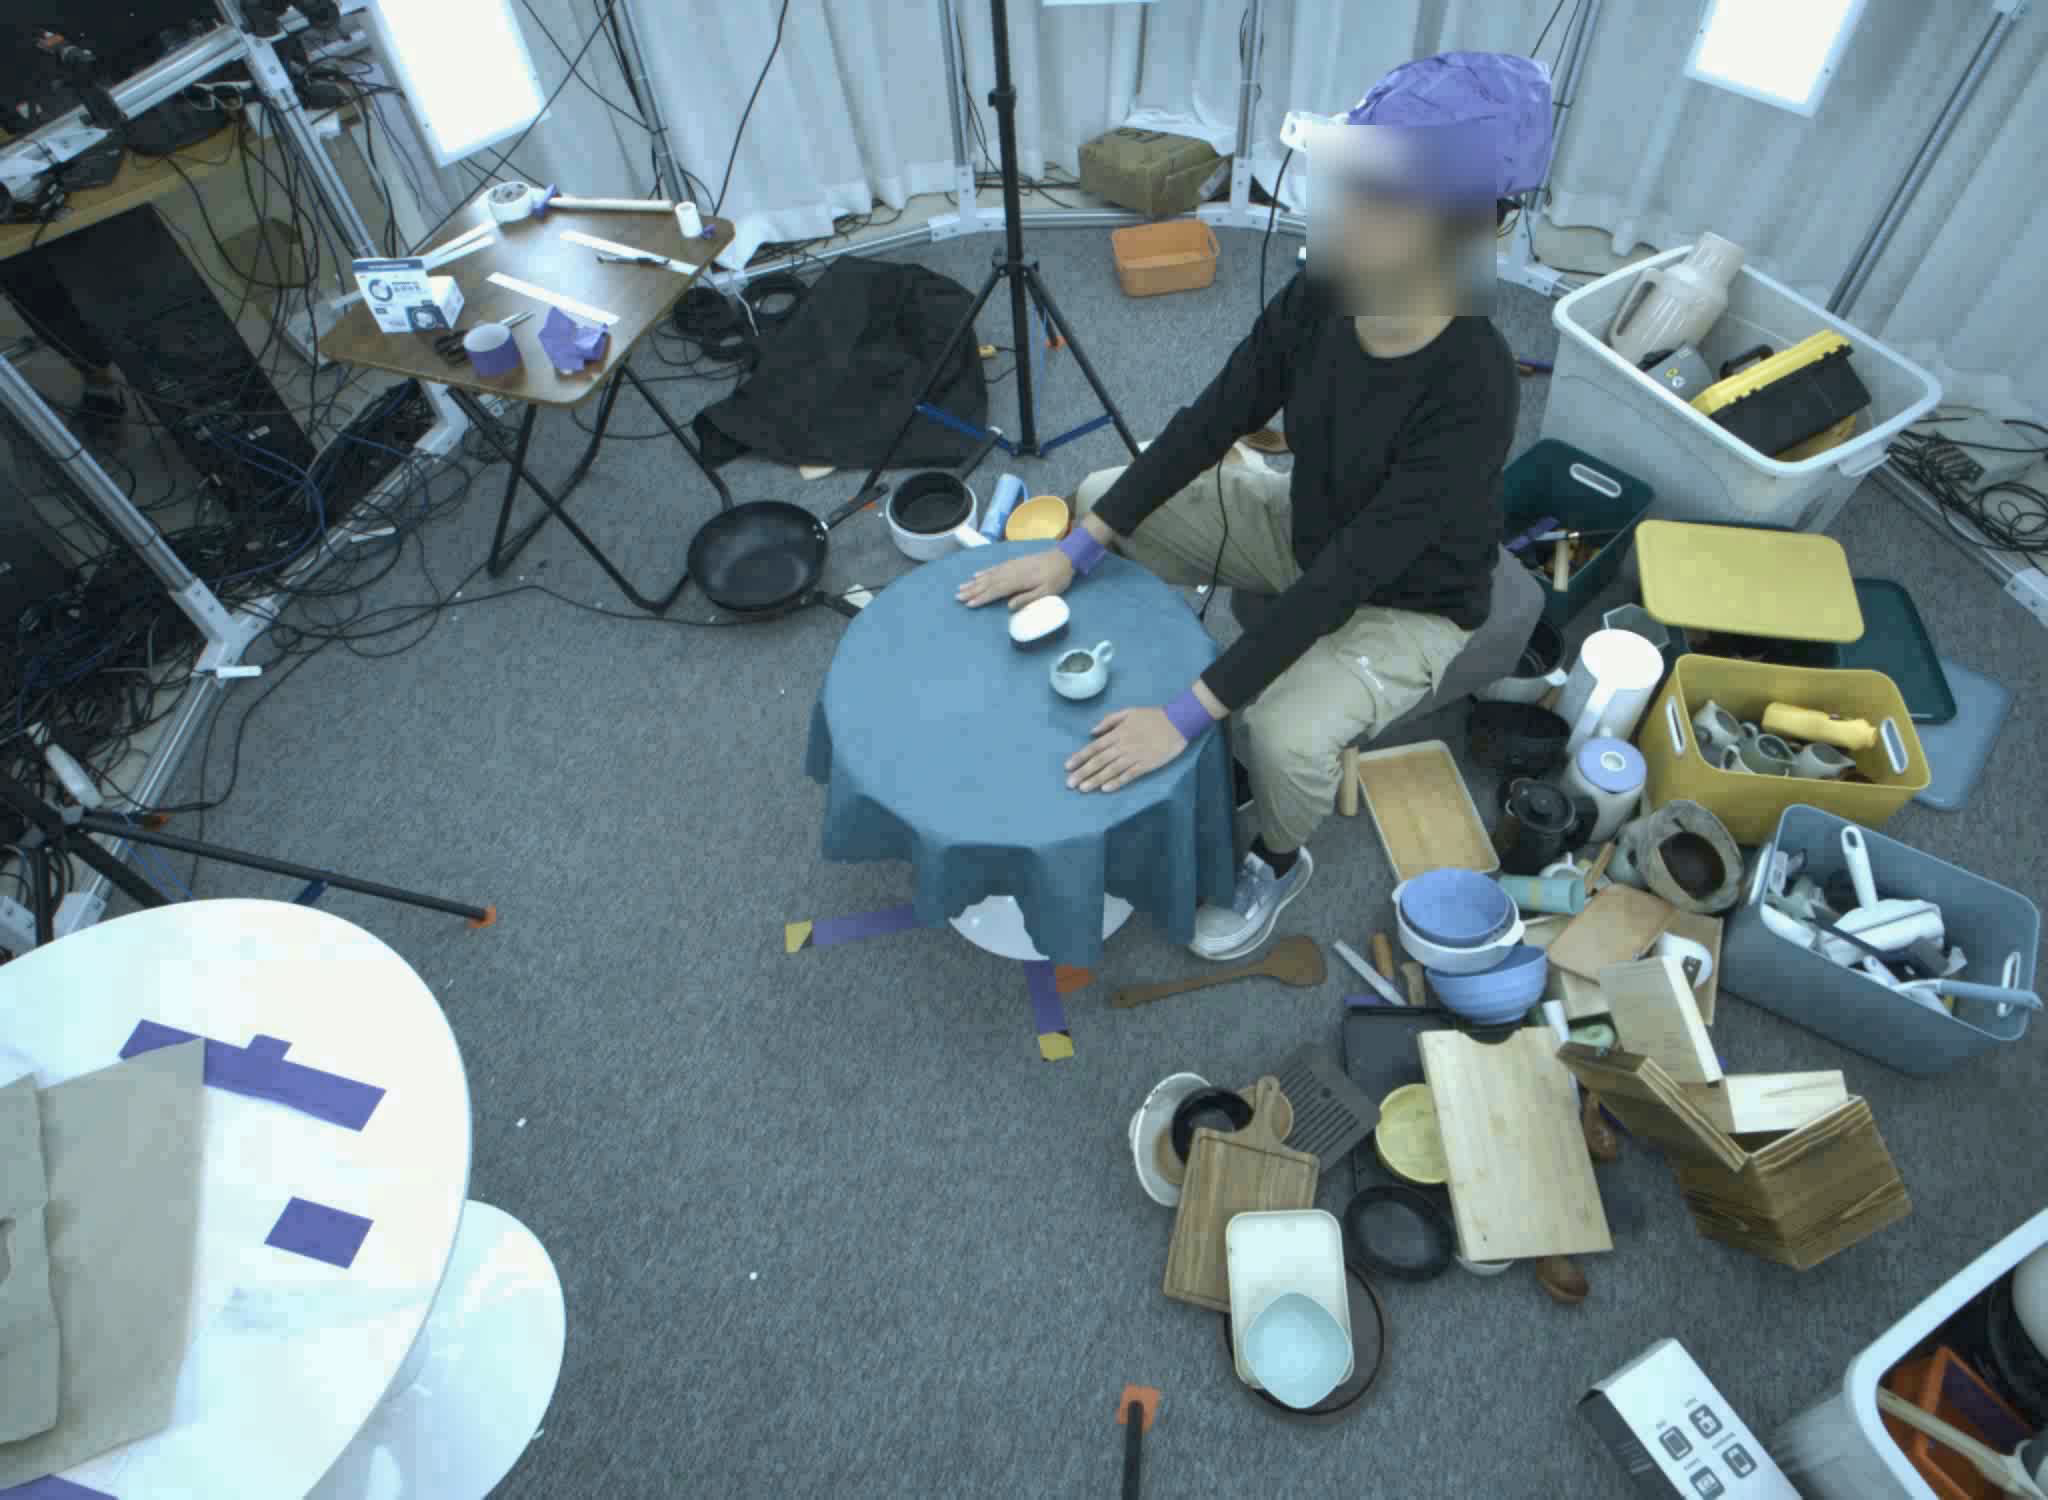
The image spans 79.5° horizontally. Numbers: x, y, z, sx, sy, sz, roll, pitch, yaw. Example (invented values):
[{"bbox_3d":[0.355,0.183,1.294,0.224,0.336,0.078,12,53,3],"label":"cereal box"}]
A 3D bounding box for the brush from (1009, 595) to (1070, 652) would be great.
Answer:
[{"bbox_3d":[0.023,-0.202,1.887,0.100,0.073,0.049,-25,57,-13],"label":"brush"}]

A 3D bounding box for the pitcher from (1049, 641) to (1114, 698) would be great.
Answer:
[{"bbox_3d":[0.089,-0.123,1.840,0.109,0.061,0.084,-31,59,-22],"label":"pitcher"}]
